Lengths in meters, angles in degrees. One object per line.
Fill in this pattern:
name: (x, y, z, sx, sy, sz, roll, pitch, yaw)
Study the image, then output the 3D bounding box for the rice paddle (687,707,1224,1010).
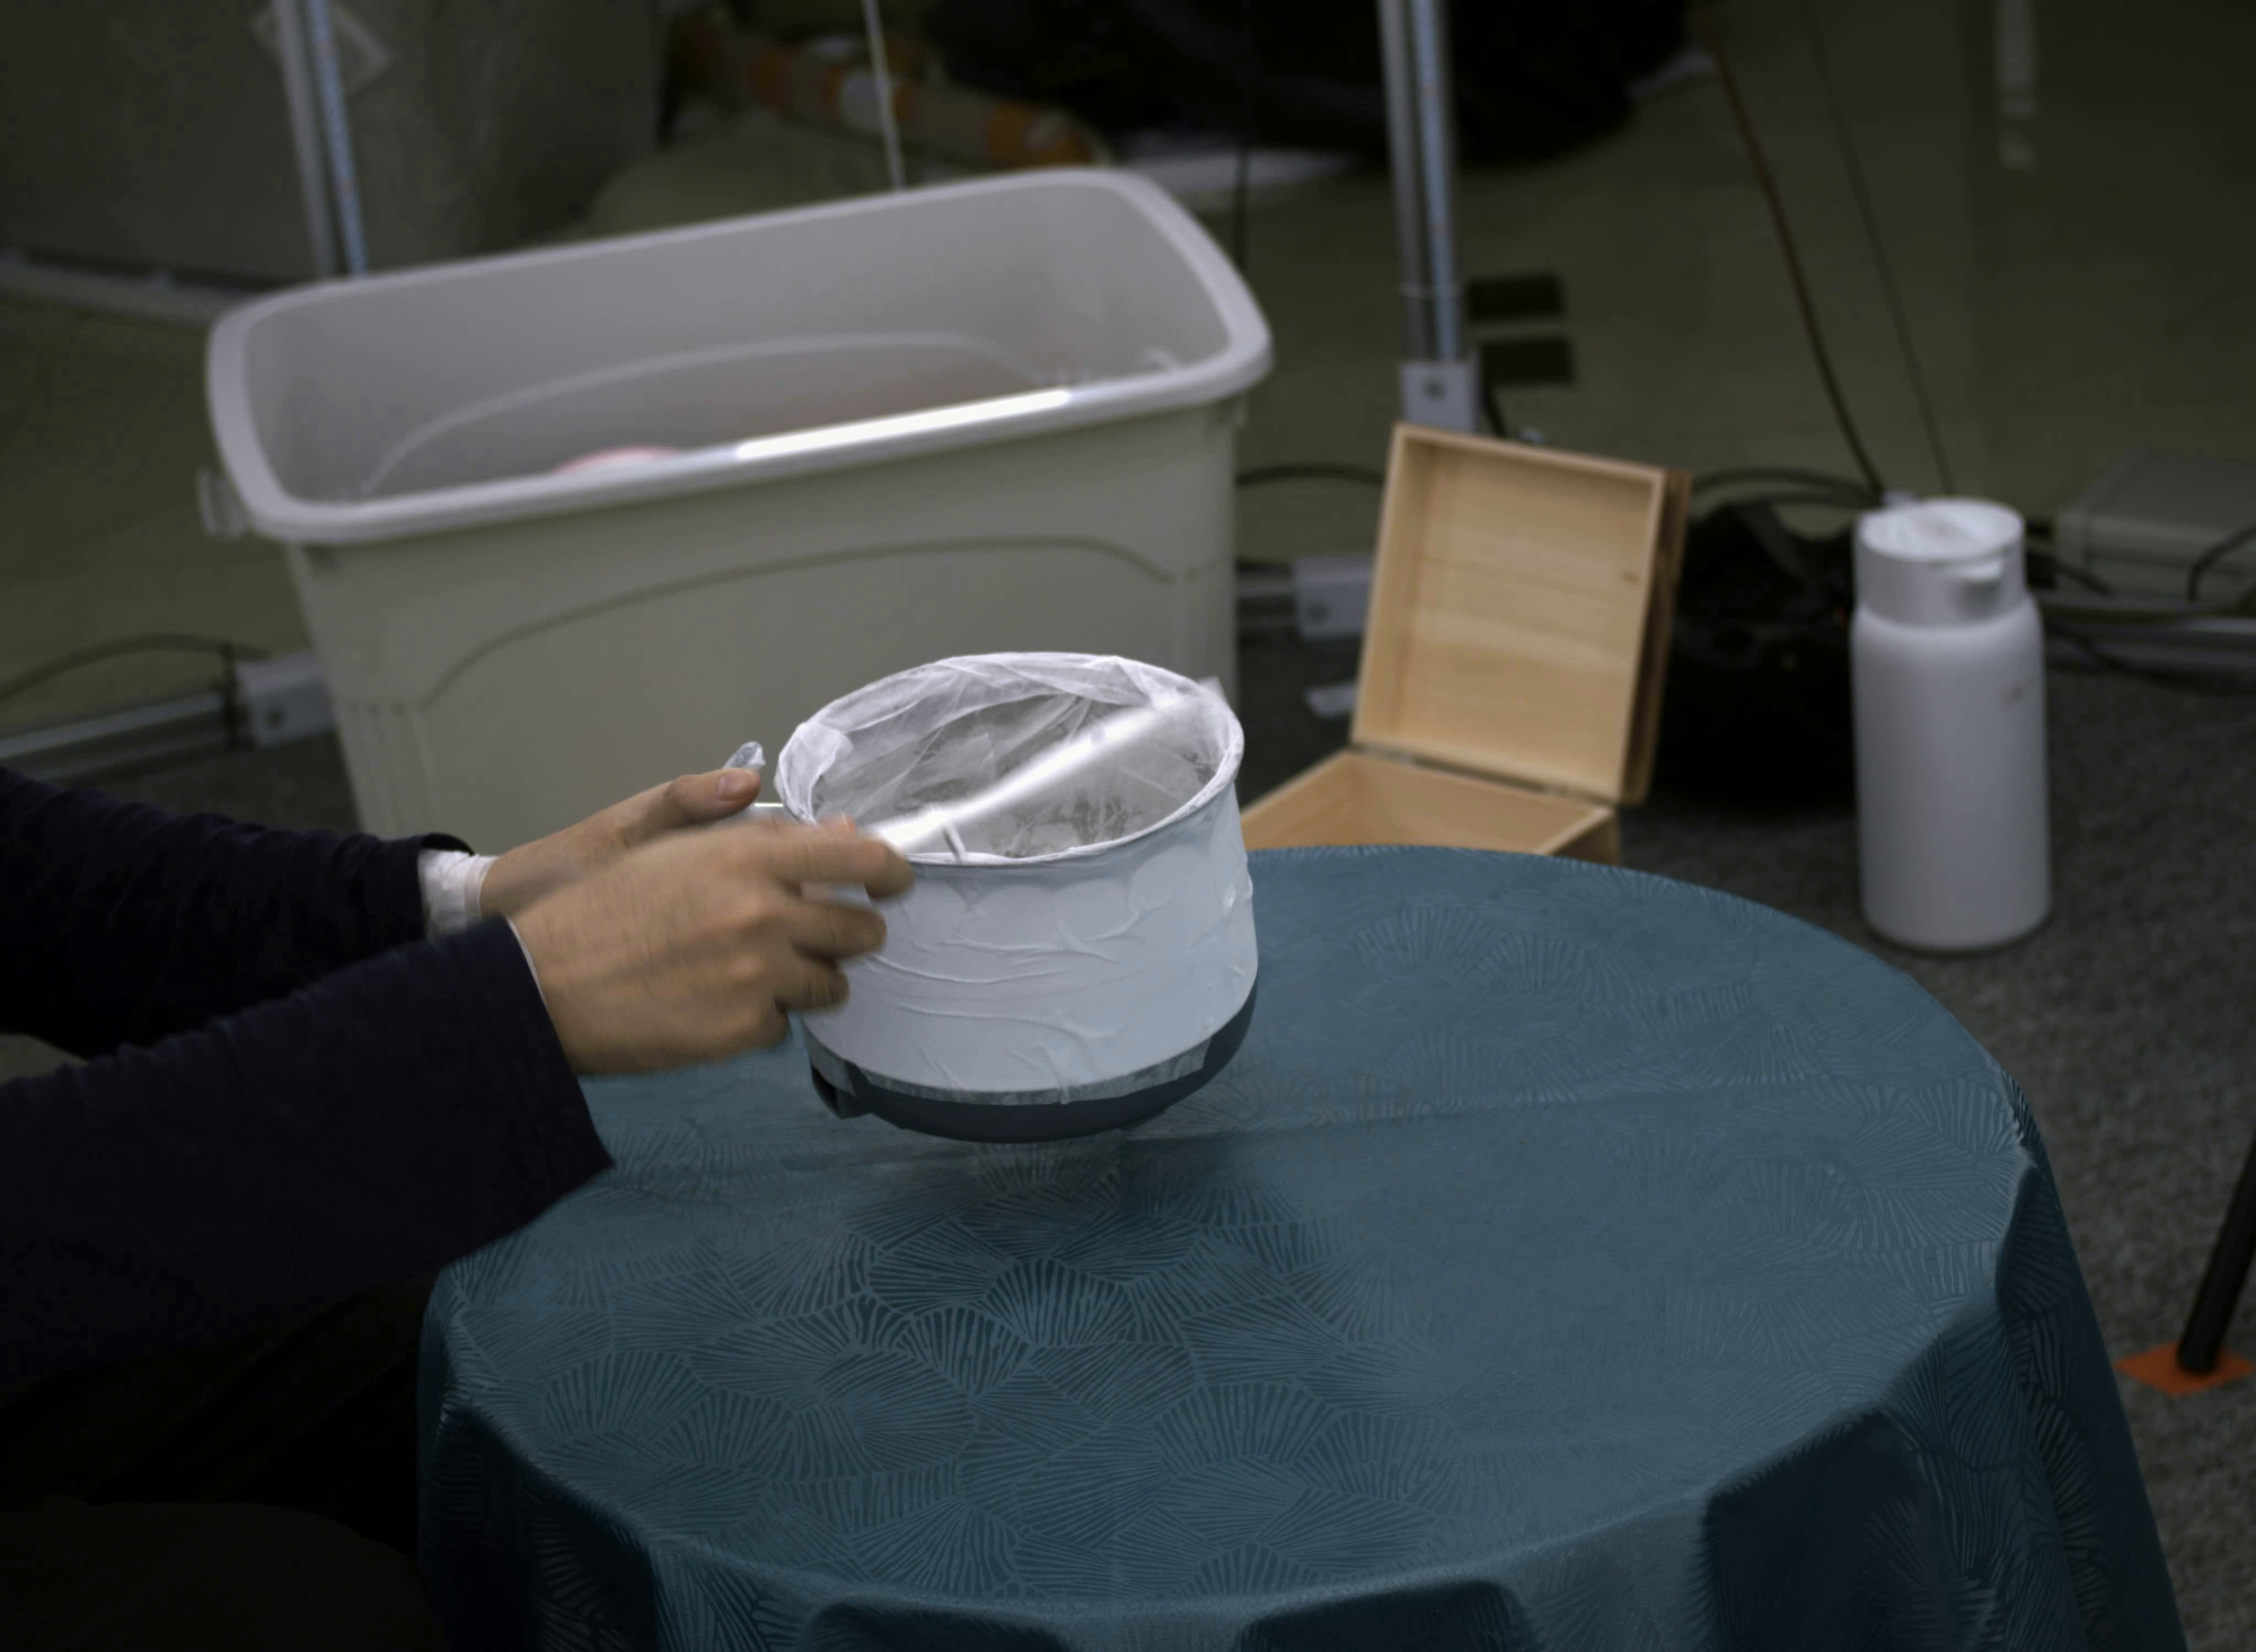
rice paddle: (-0.057, 0.003, 1.963, 0.204, 0.029, 0.068, -28, 8, -10)

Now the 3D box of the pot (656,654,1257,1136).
pot: (-0.067, 0.028, 2.160, 0.233, 0.139, 0.176, 0, 26, 6)
